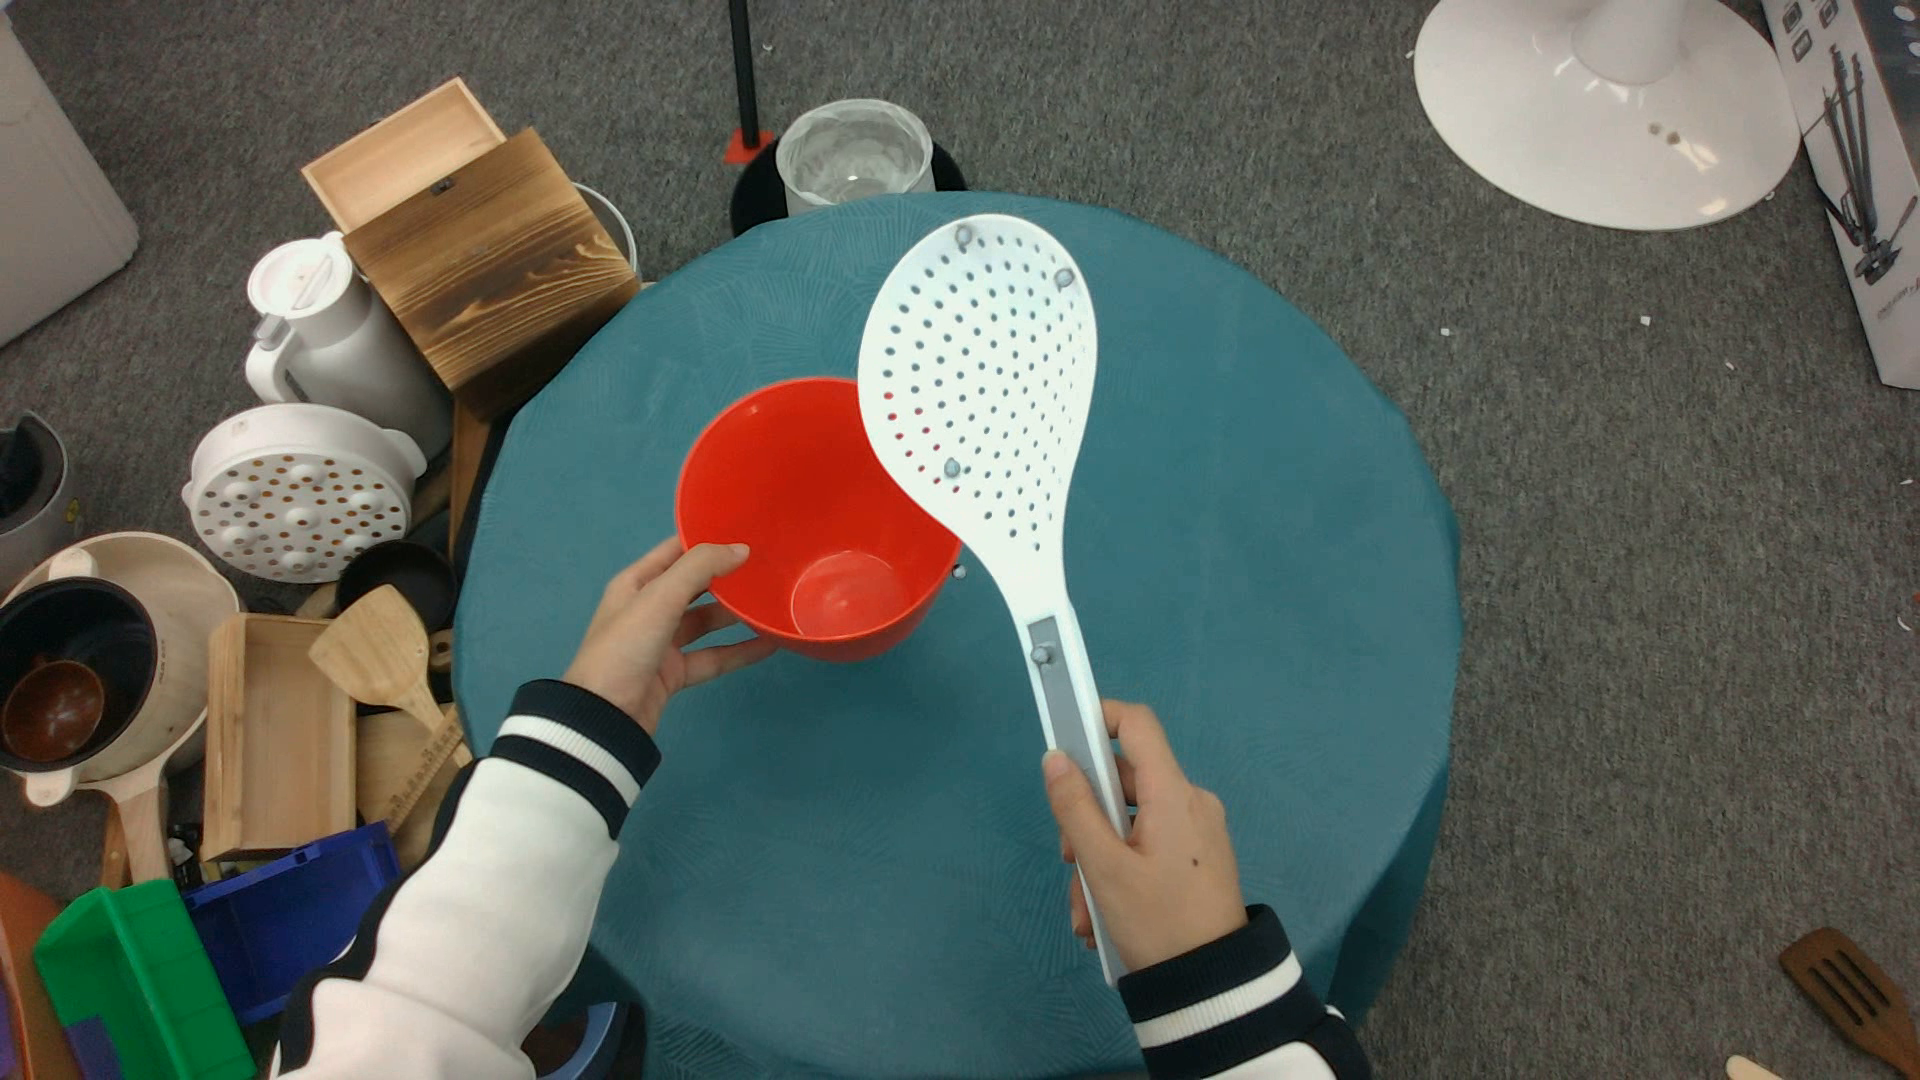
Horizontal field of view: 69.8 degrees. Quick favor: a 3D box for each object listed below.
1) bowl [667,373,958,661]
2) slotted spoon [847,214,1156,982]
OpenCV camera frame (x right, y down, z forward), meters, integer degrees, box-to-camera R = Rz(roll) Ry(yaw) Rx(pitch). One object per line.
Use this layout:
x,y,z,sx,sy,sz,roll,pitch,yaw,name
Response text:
-0.074,0.000,0.733,0.148,0.104,0.148,1,57,-1,bowl
0.030,0.019,0.619,0.135,0.046,0.350,-24,69,34,slotted spoon
